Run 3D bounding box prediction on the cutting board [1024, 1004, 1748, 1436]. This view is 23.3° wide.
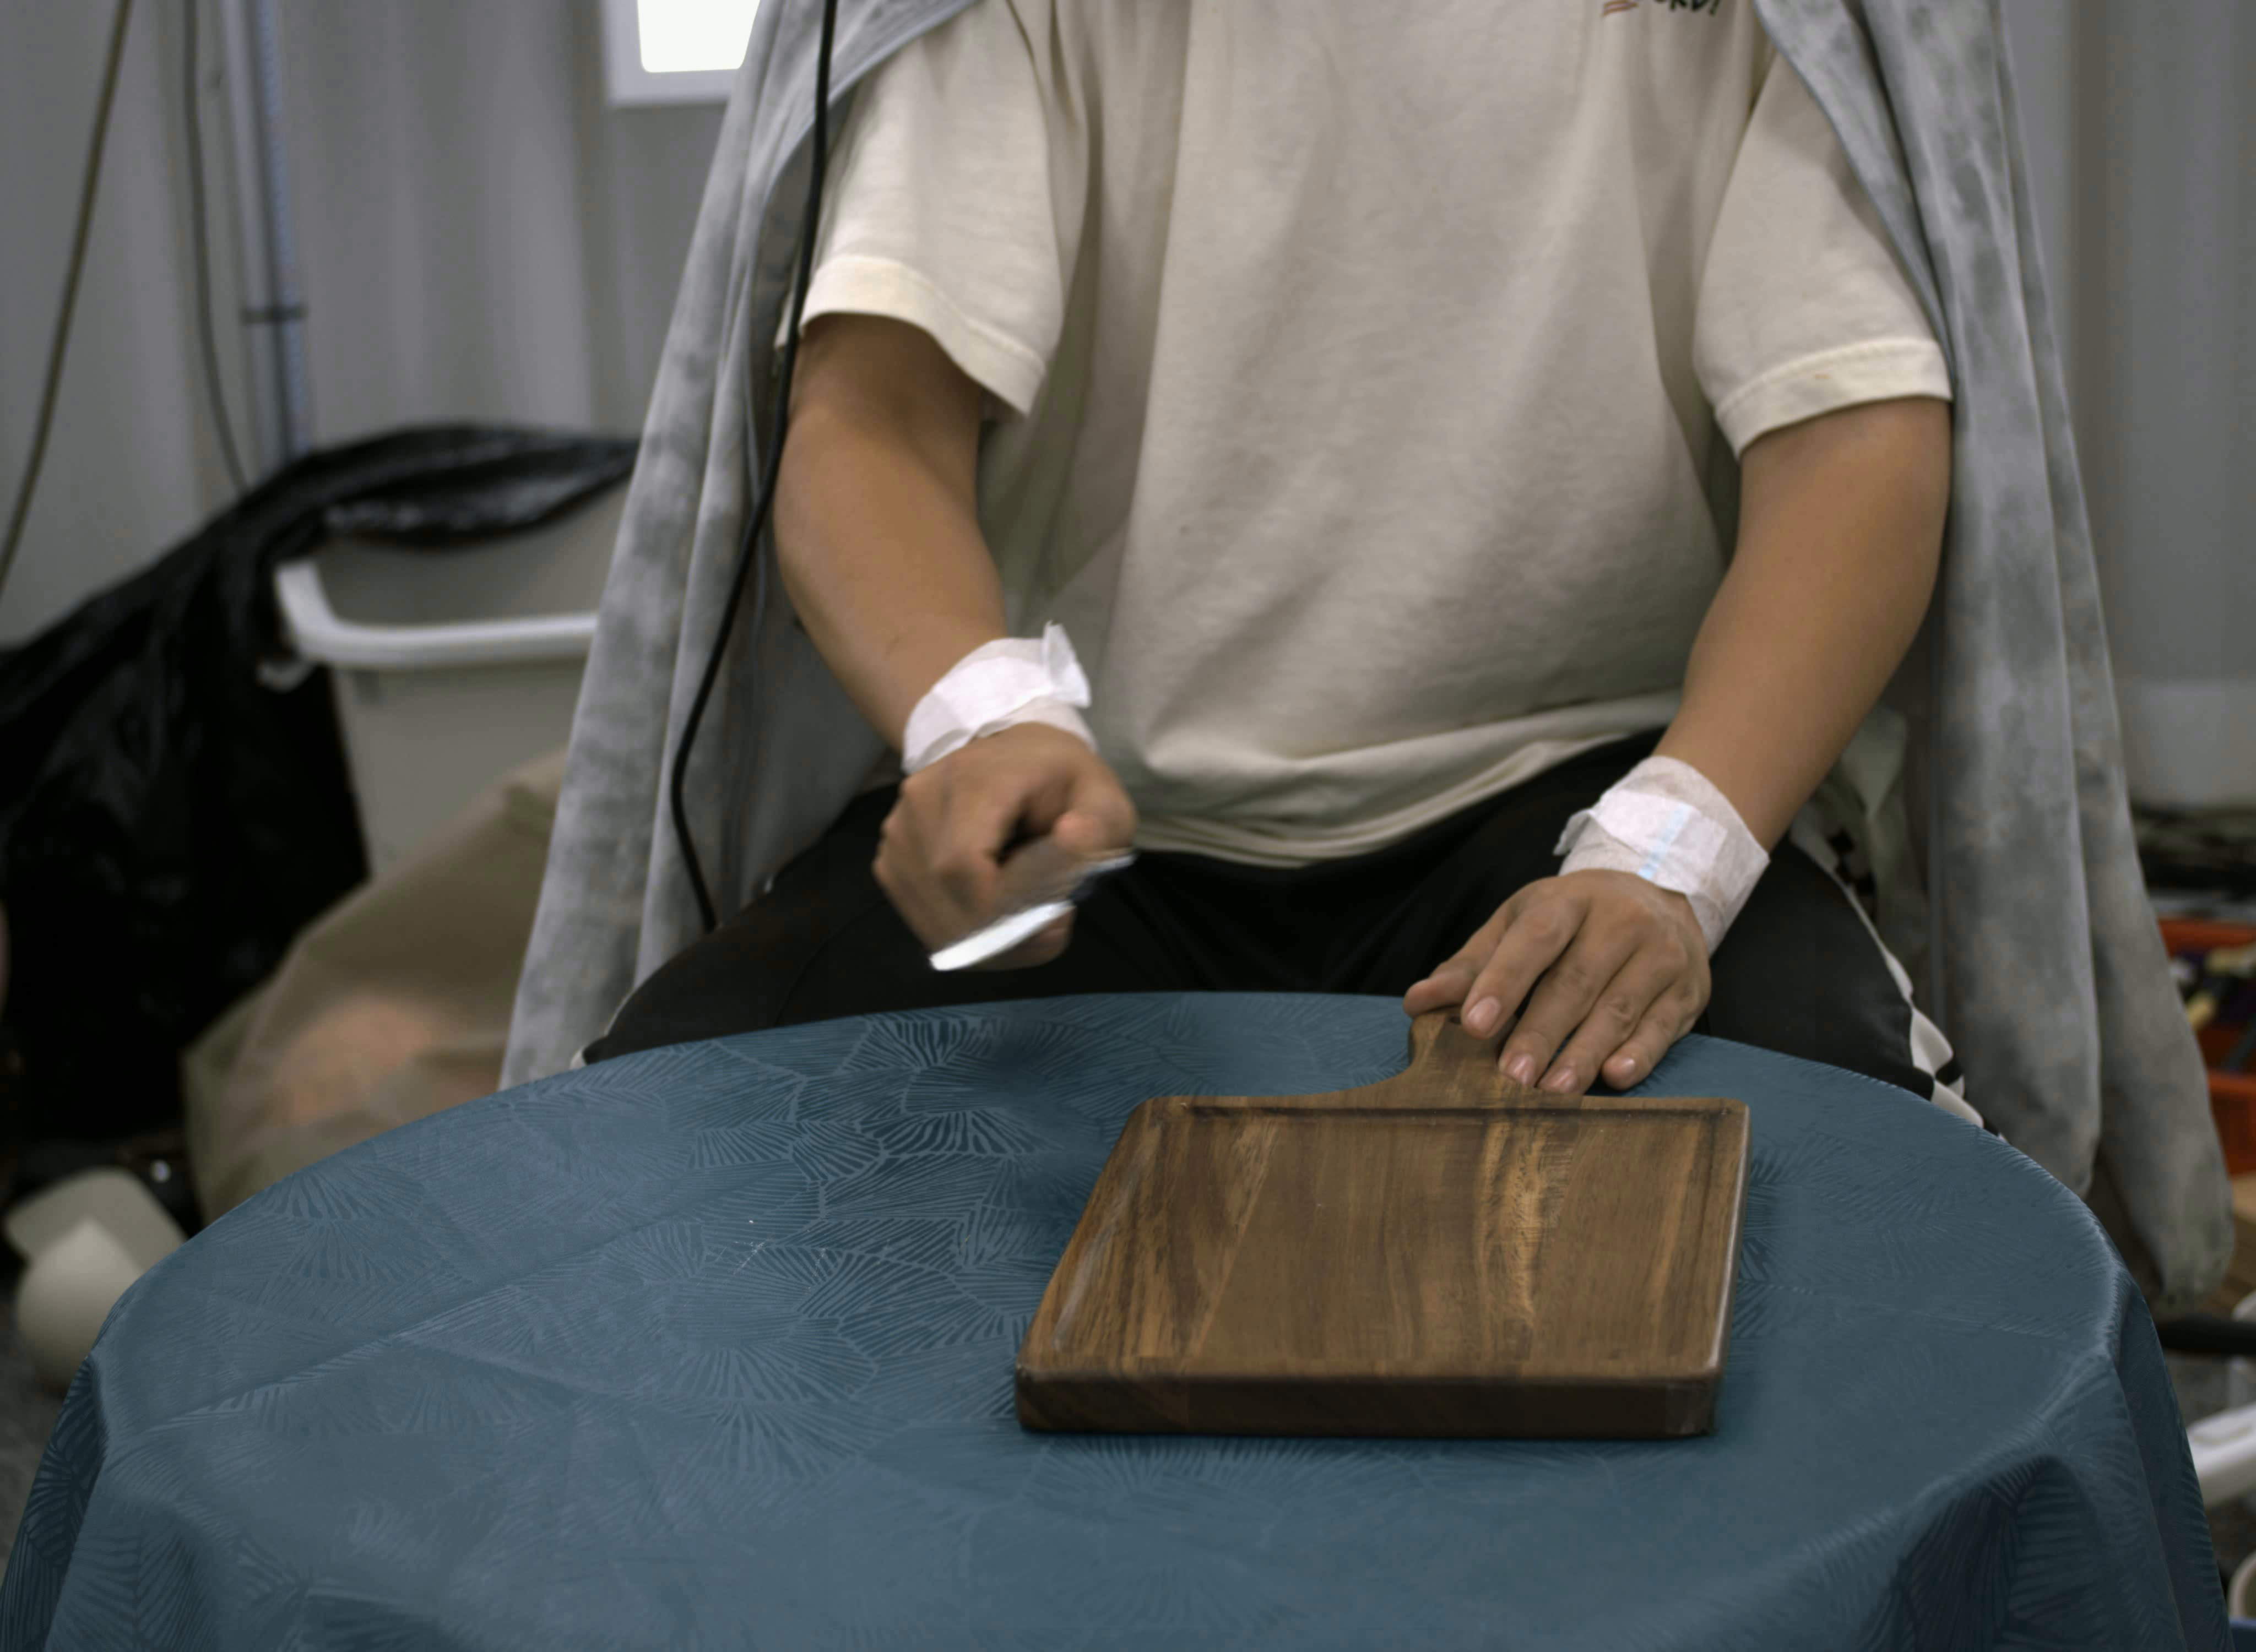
[{"bbox_3d":[0.089,0.114,1.665,0.200,0.023,0.354,0,14,8],"label":"cutting board"}]

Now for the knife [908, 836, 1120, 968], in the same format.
[{"bbox_3d":[-0.040,0.027,1.735,0.068,0.024,0.299,-33,3,-5],"label":"knife"}]
